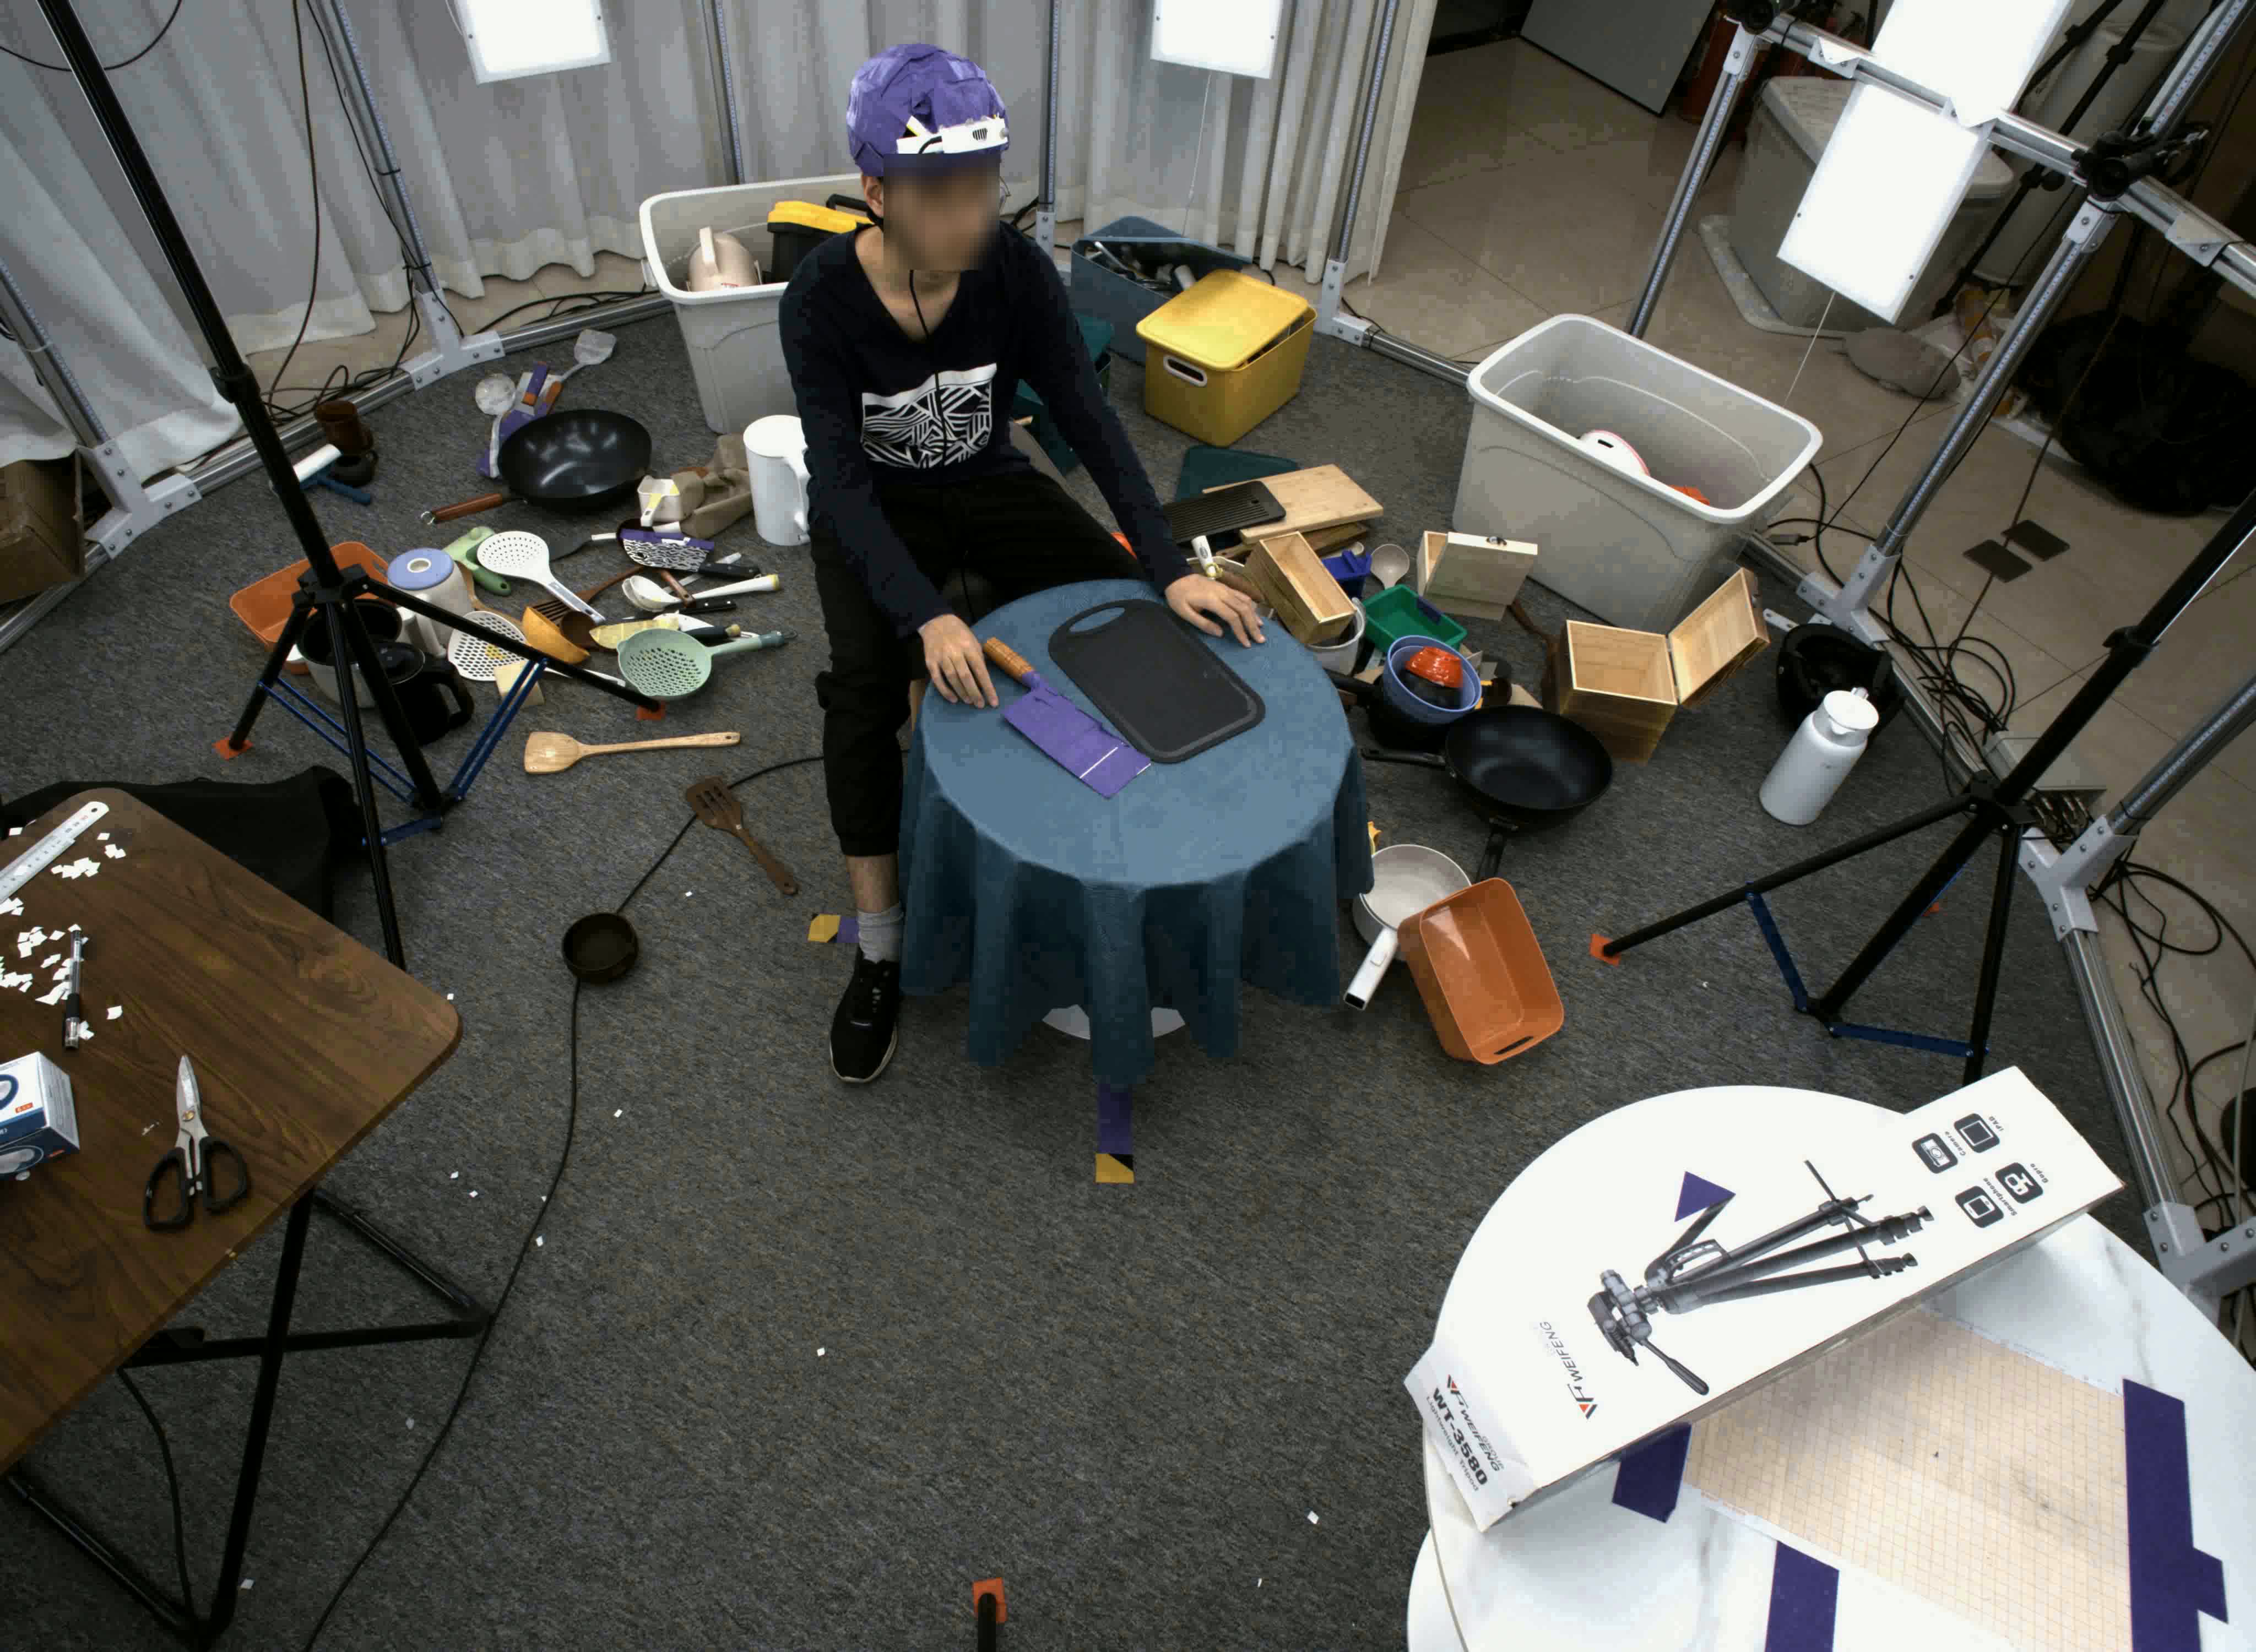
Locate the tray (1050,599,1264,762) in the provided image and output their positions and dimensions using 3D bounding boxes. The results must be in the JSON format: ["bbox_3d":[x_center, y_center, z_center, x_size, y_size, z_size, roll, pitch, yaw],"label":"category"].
[{"bbox_3d":[0.034,-0.223,1.858,0.212,0.009,0.332,-25,55,-24],"label":"tray"}]

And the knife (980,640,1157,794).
[{"bbox_3d":[-0.108,-0.154,1.776,0.319,0.031,0.105,37,56,24],"label":"knife"}]
